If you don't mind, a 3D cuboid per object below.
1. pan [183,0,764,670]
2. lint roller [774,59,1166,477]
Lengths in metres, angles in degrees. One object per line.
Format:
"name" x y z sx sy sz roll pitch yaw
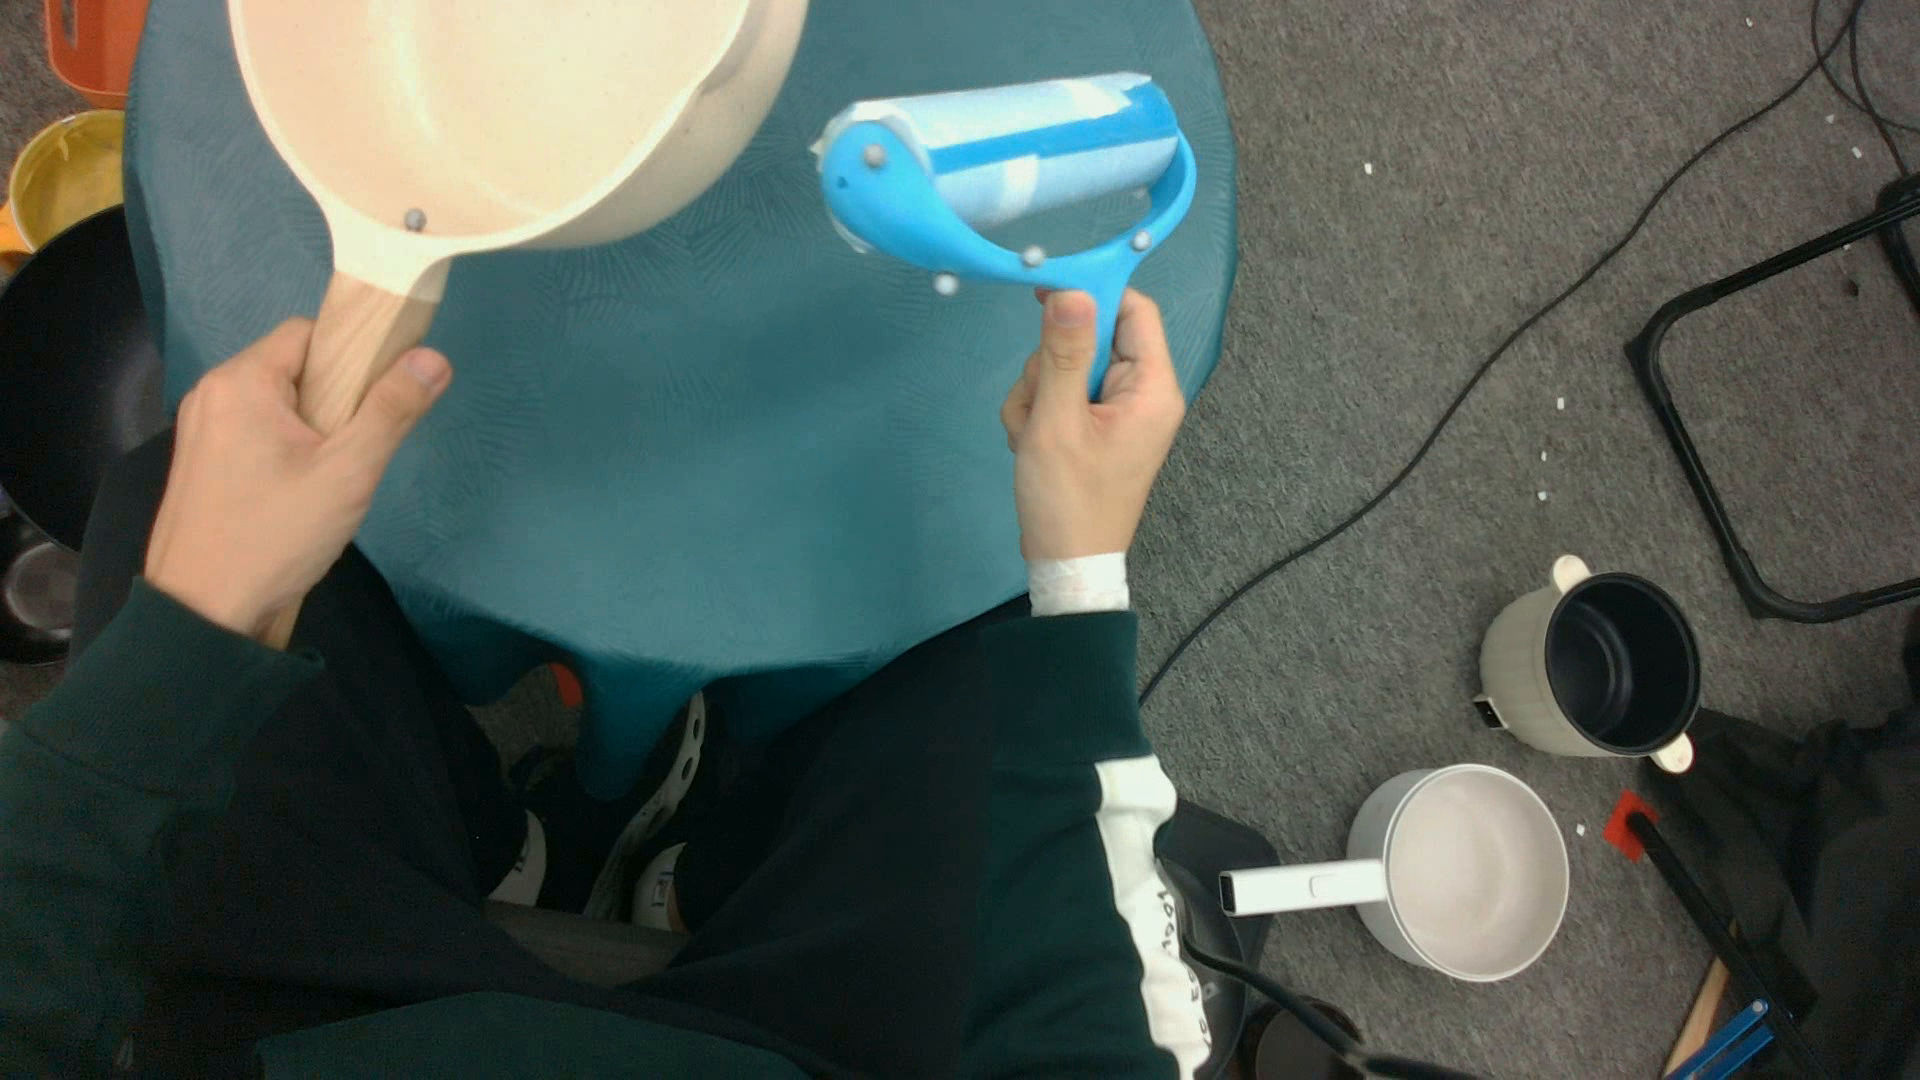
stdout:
"pan" -0.221 -0.158 0.573 0.263 0.102 0.434 19 98 14
"lint roller" 0.024 -0.117 0.611 0.230 0.068 0.180 -30 110 -46
